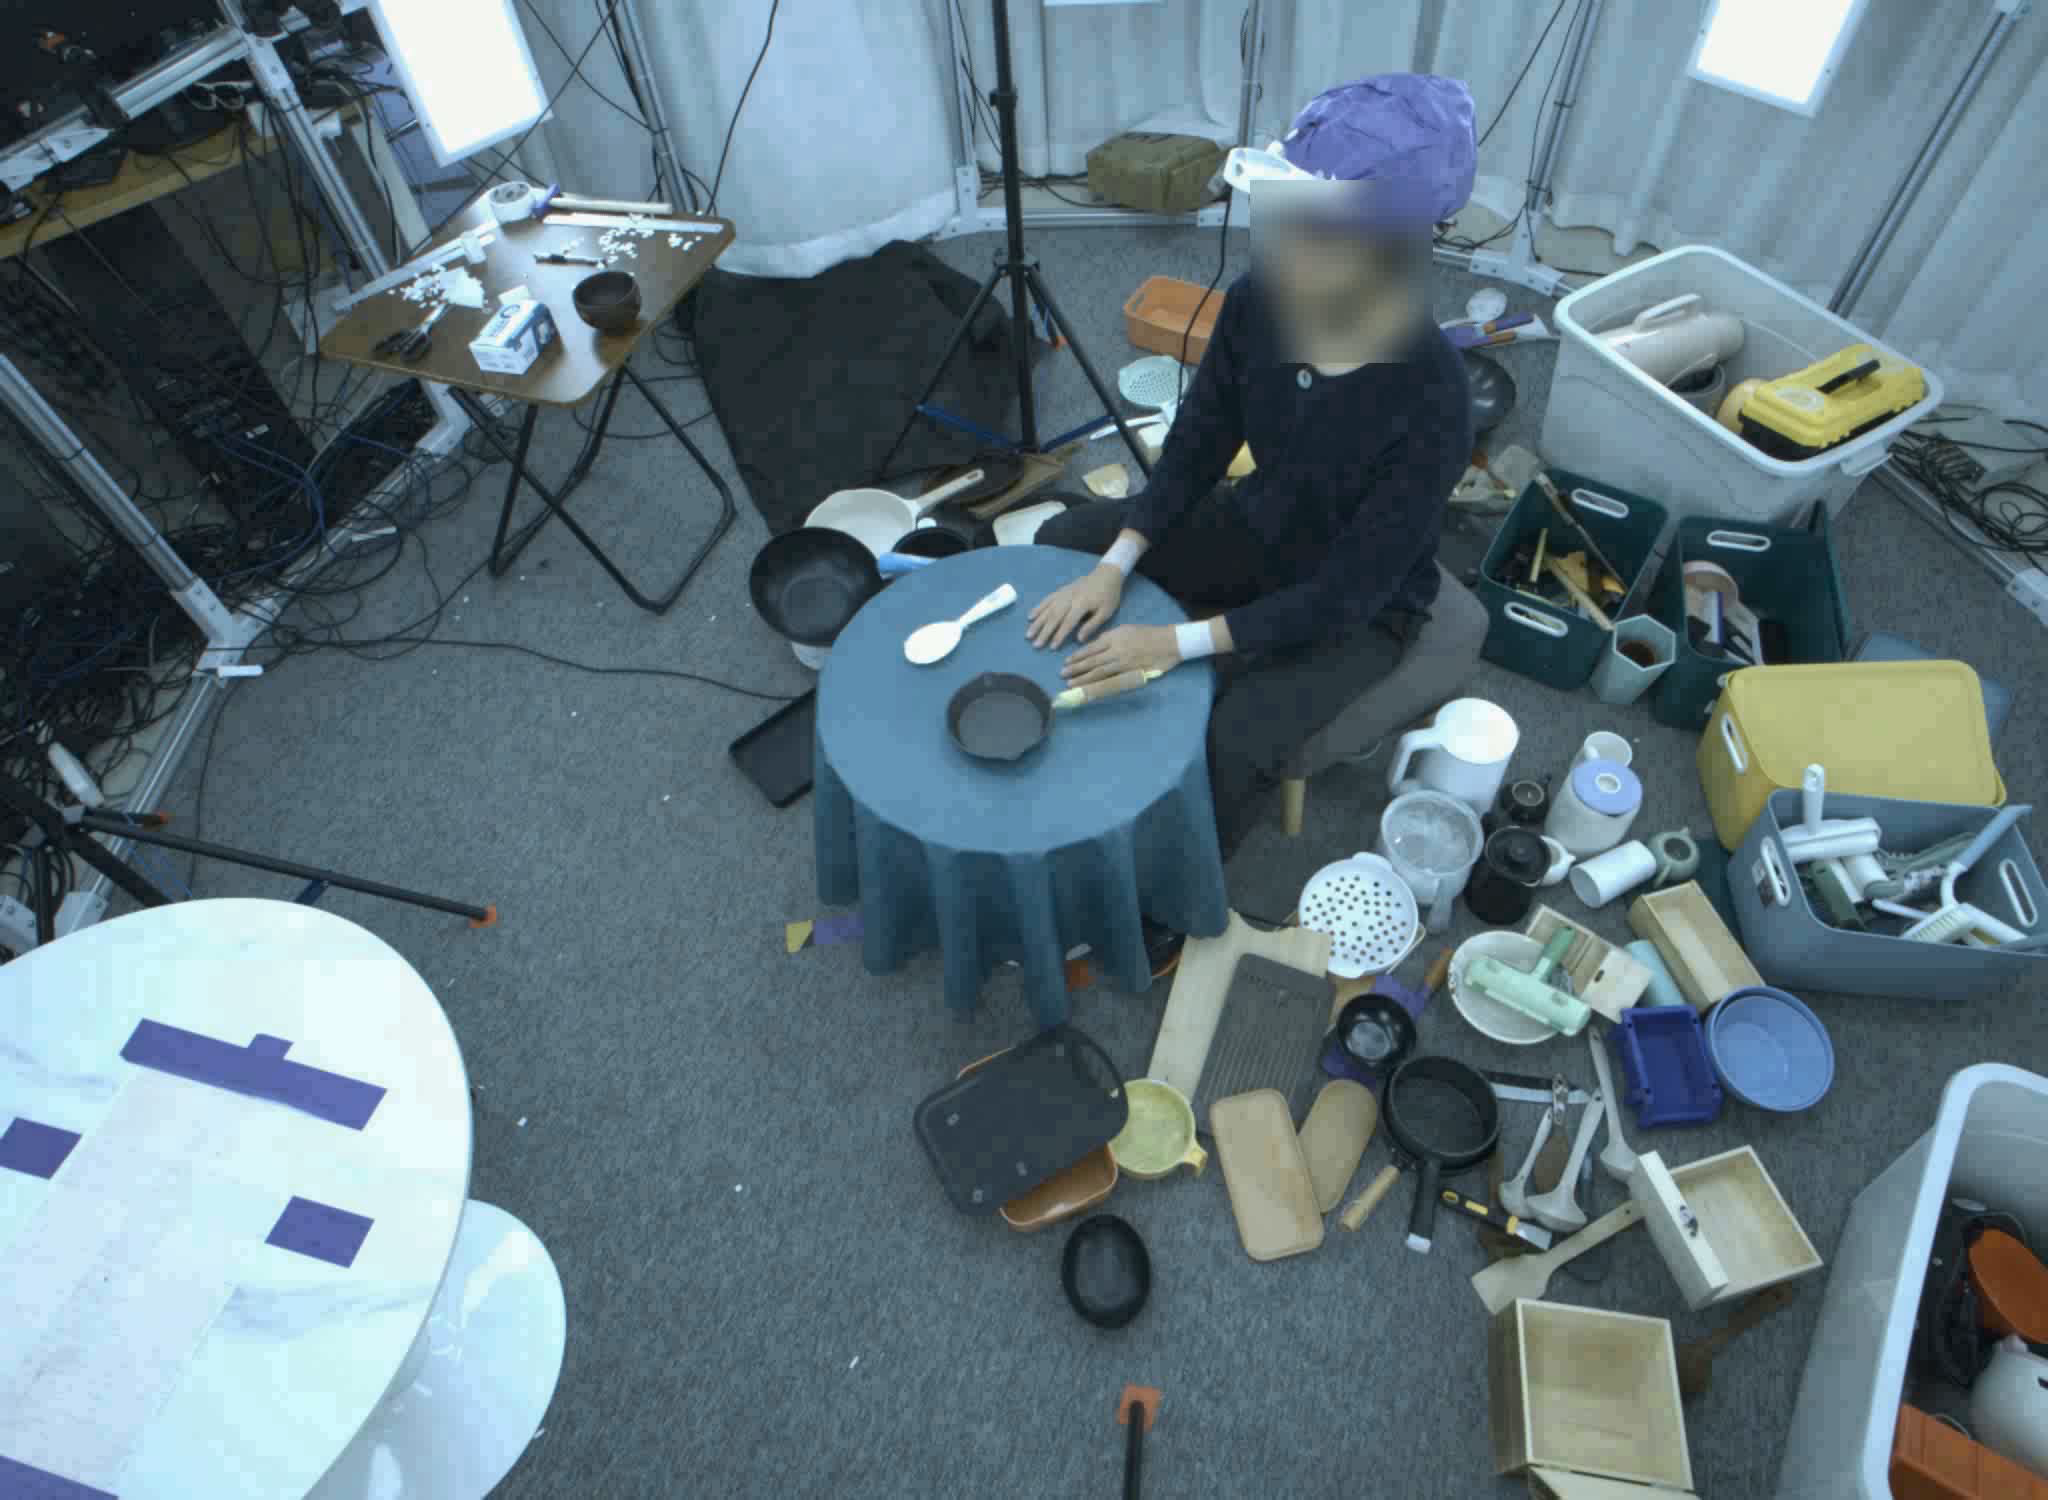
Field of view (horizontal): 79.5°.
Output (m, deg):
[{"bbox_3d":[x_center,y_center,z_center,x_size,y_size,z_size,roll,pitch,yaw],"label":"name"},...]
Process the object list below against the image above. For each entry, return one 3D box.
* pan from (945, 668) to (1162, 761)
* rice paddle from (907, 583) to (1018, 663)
[{"bbox_3d":[0.046,-0.067,1.802,0.325,0.050,0.166,-13,55,-5],"label":"pan"},{"bbox_3d":[-0.097,-0.197,1.912,0.207,0.030,0.067,-36,59,-22],"label":"rice paddle"}]
